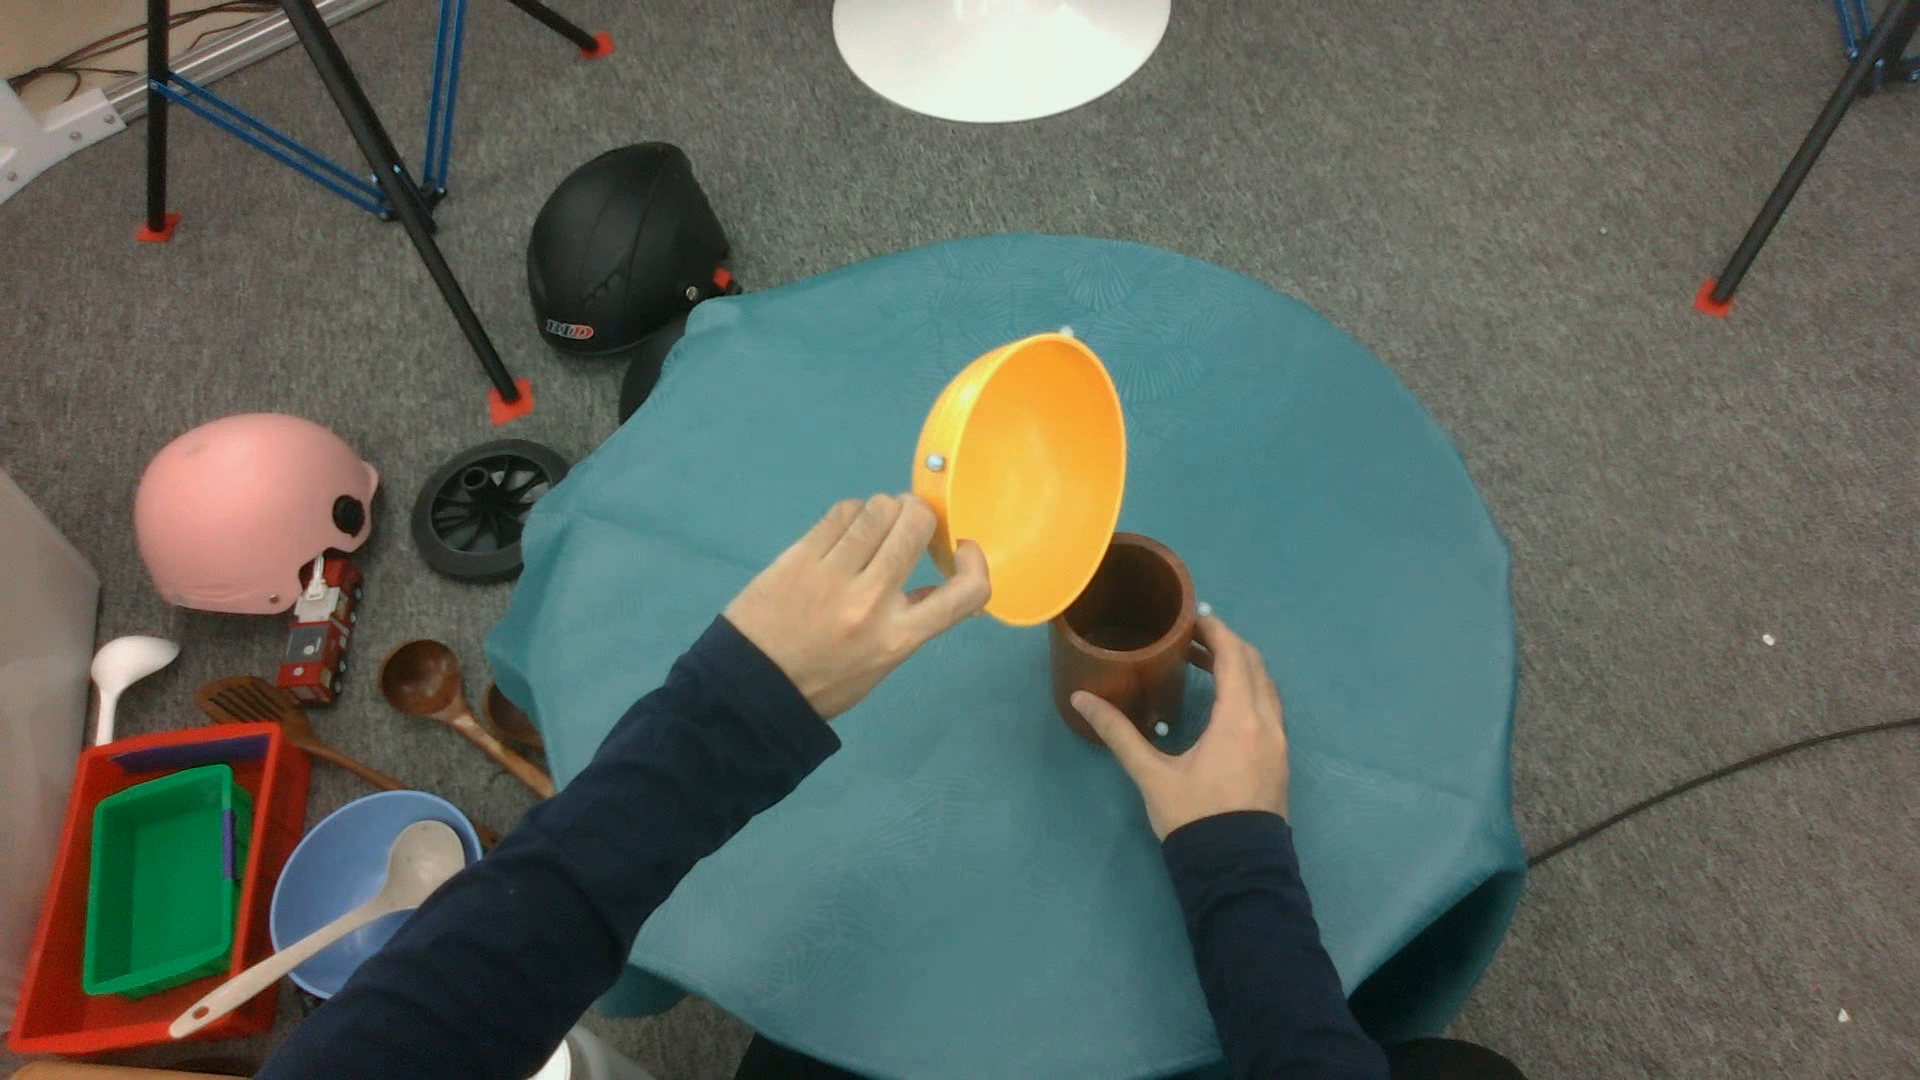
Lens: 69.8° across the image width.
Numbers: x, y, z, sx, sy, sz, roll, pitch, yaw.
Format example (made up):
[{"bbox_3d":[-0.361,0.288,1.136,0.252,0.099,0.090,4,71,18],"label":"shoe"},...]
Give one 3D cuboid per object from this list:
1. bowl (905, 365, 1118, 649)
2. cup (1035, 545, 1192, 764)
[{"bbox_3d":[0.016,-0.020,0.708,0.060,0.145,0.146,13,56,39],"label":"bowl"},{"bbox_3d":[0.089,0.068,0.779,0.087,0.118,0.088,-4,56,7],"label":"cup"}]
